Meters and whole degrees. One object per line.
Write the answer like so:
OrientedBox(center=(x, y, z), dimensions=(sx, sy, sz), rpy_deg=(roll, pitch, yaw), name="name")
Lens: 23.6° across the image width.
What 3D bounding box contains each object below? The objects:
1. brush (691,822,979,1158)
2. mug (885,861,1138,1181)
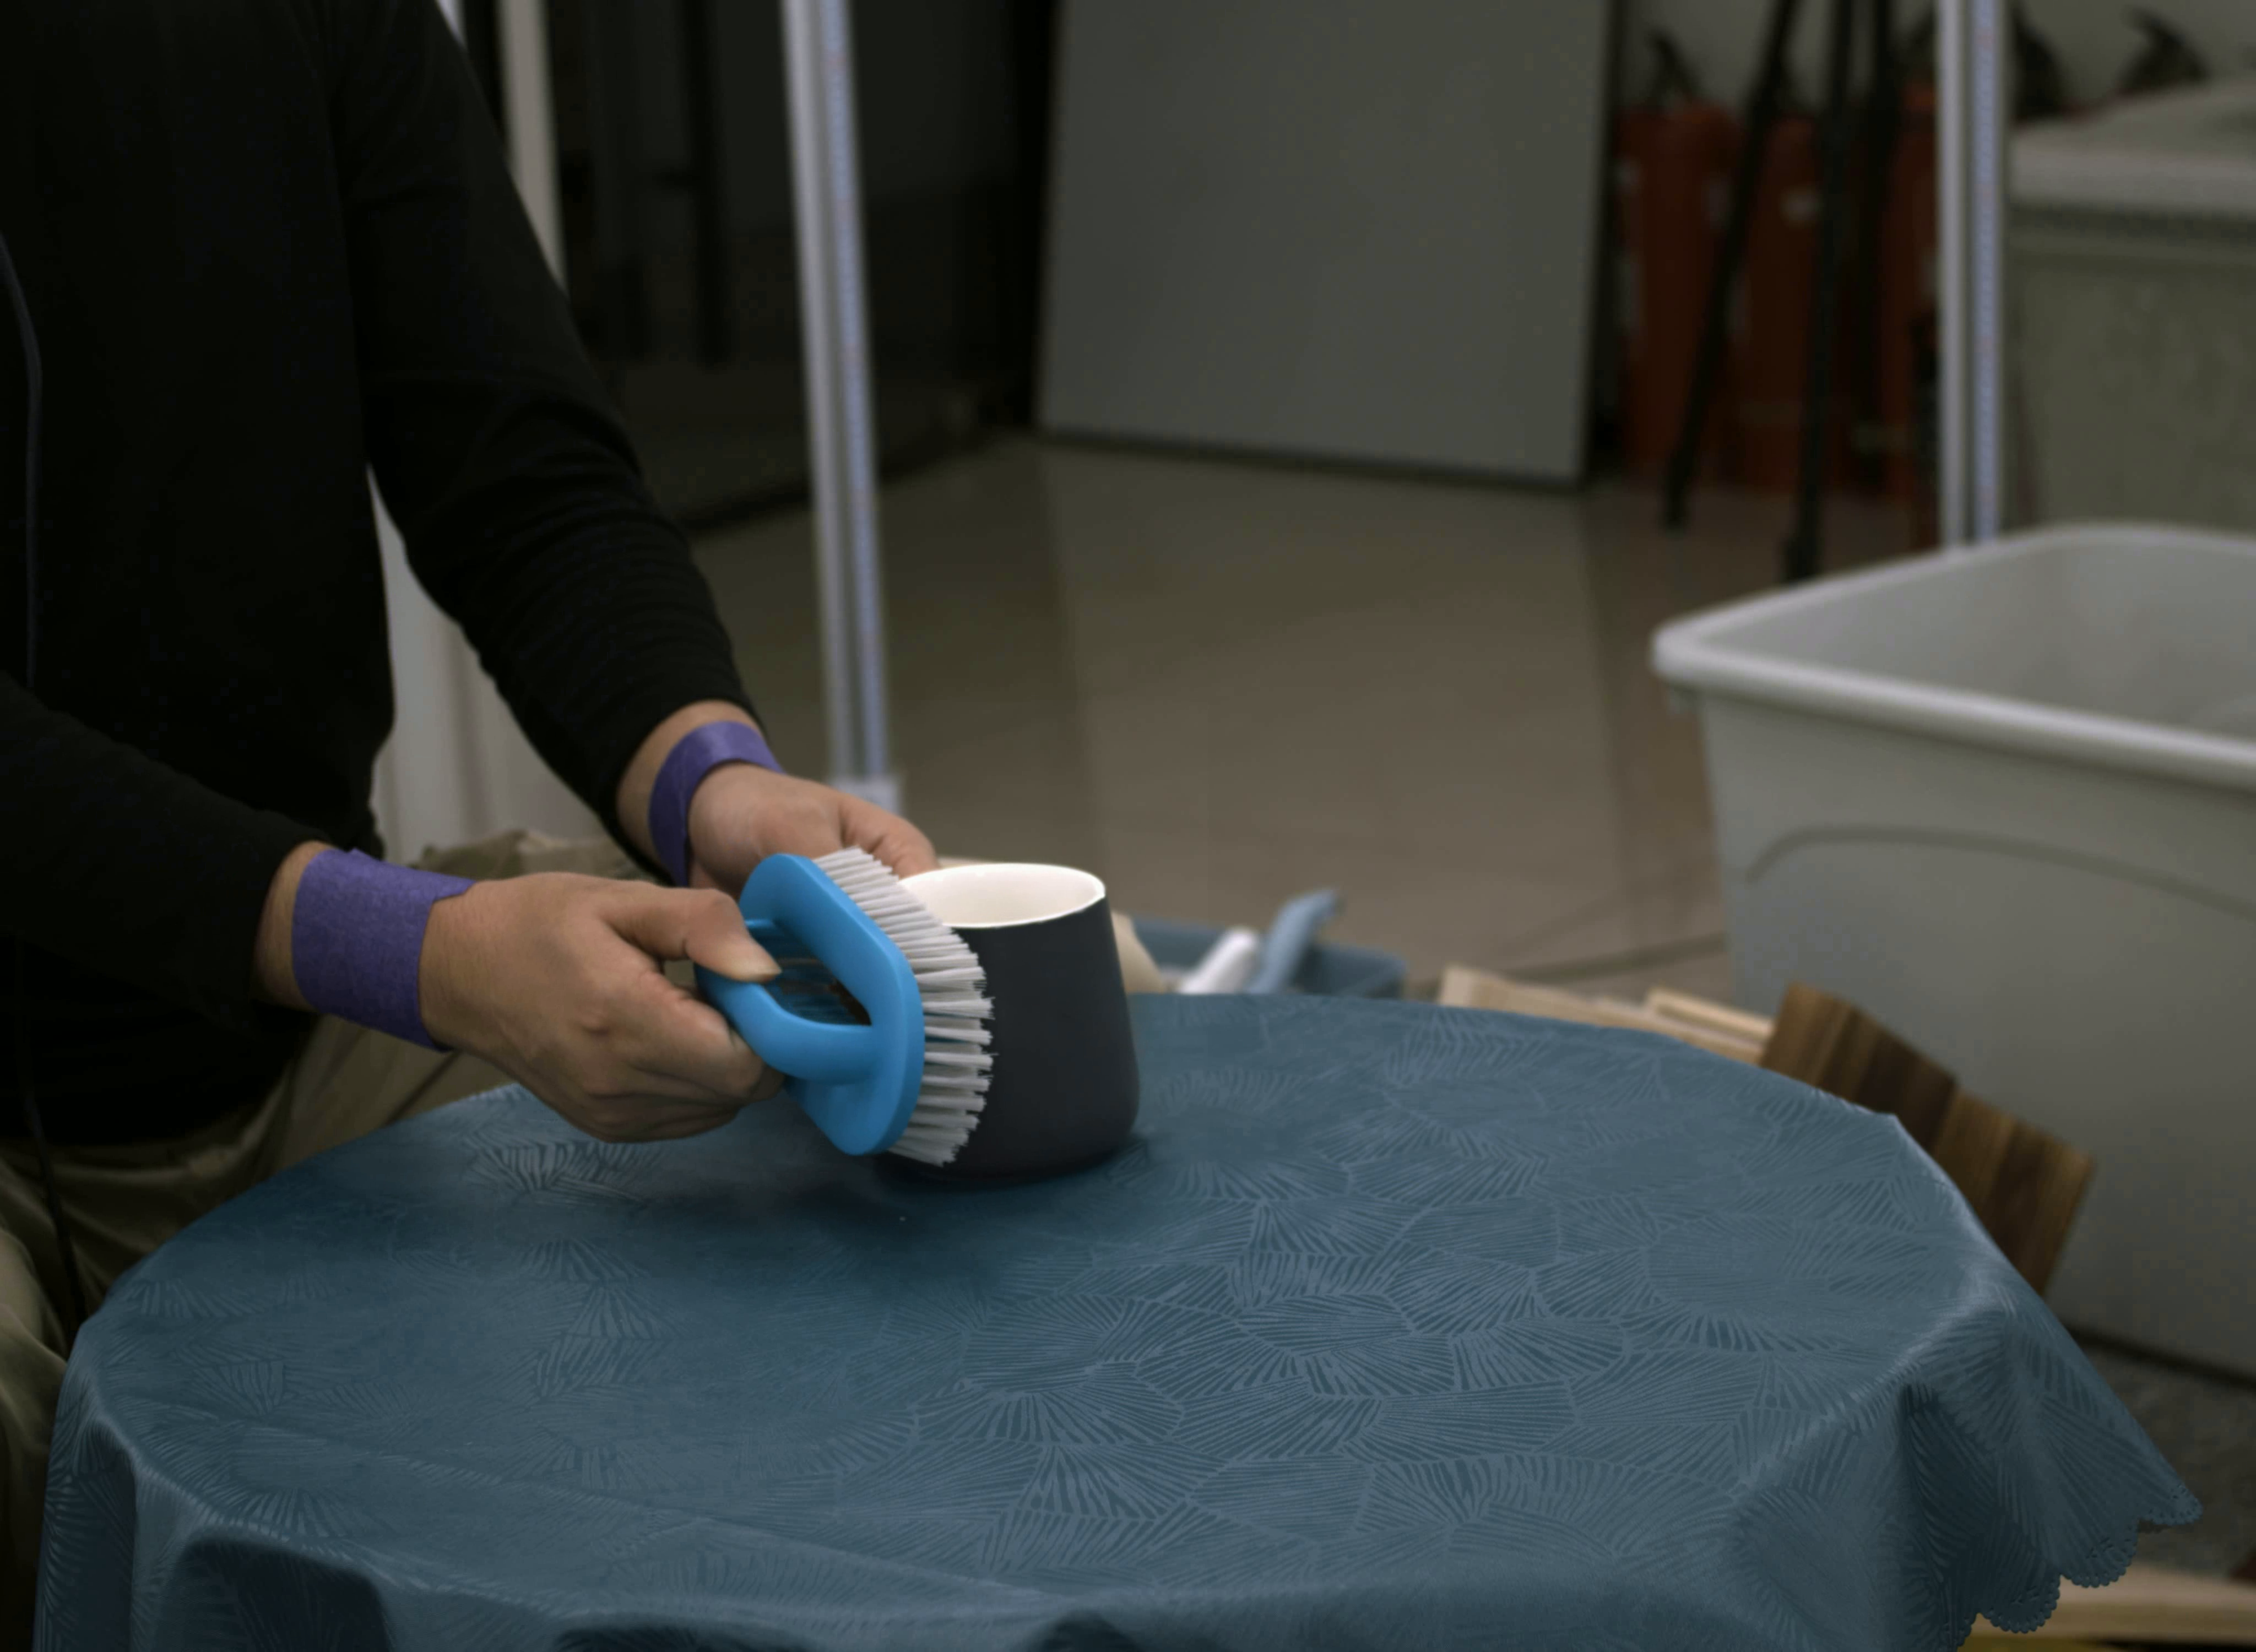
OrientedBox(center=(-0.103, 0.054, 1.759), dimensions=(0.062, 0.085, 0.143), rpy_deg=(0, 24, -27), name="brush")
OrientedBox(center=(-0.053, 0.062, 1.824), dimensions=(0.091, 0.091, 0.124), rpy_deg=(-13, 18, -36), name="mug")
